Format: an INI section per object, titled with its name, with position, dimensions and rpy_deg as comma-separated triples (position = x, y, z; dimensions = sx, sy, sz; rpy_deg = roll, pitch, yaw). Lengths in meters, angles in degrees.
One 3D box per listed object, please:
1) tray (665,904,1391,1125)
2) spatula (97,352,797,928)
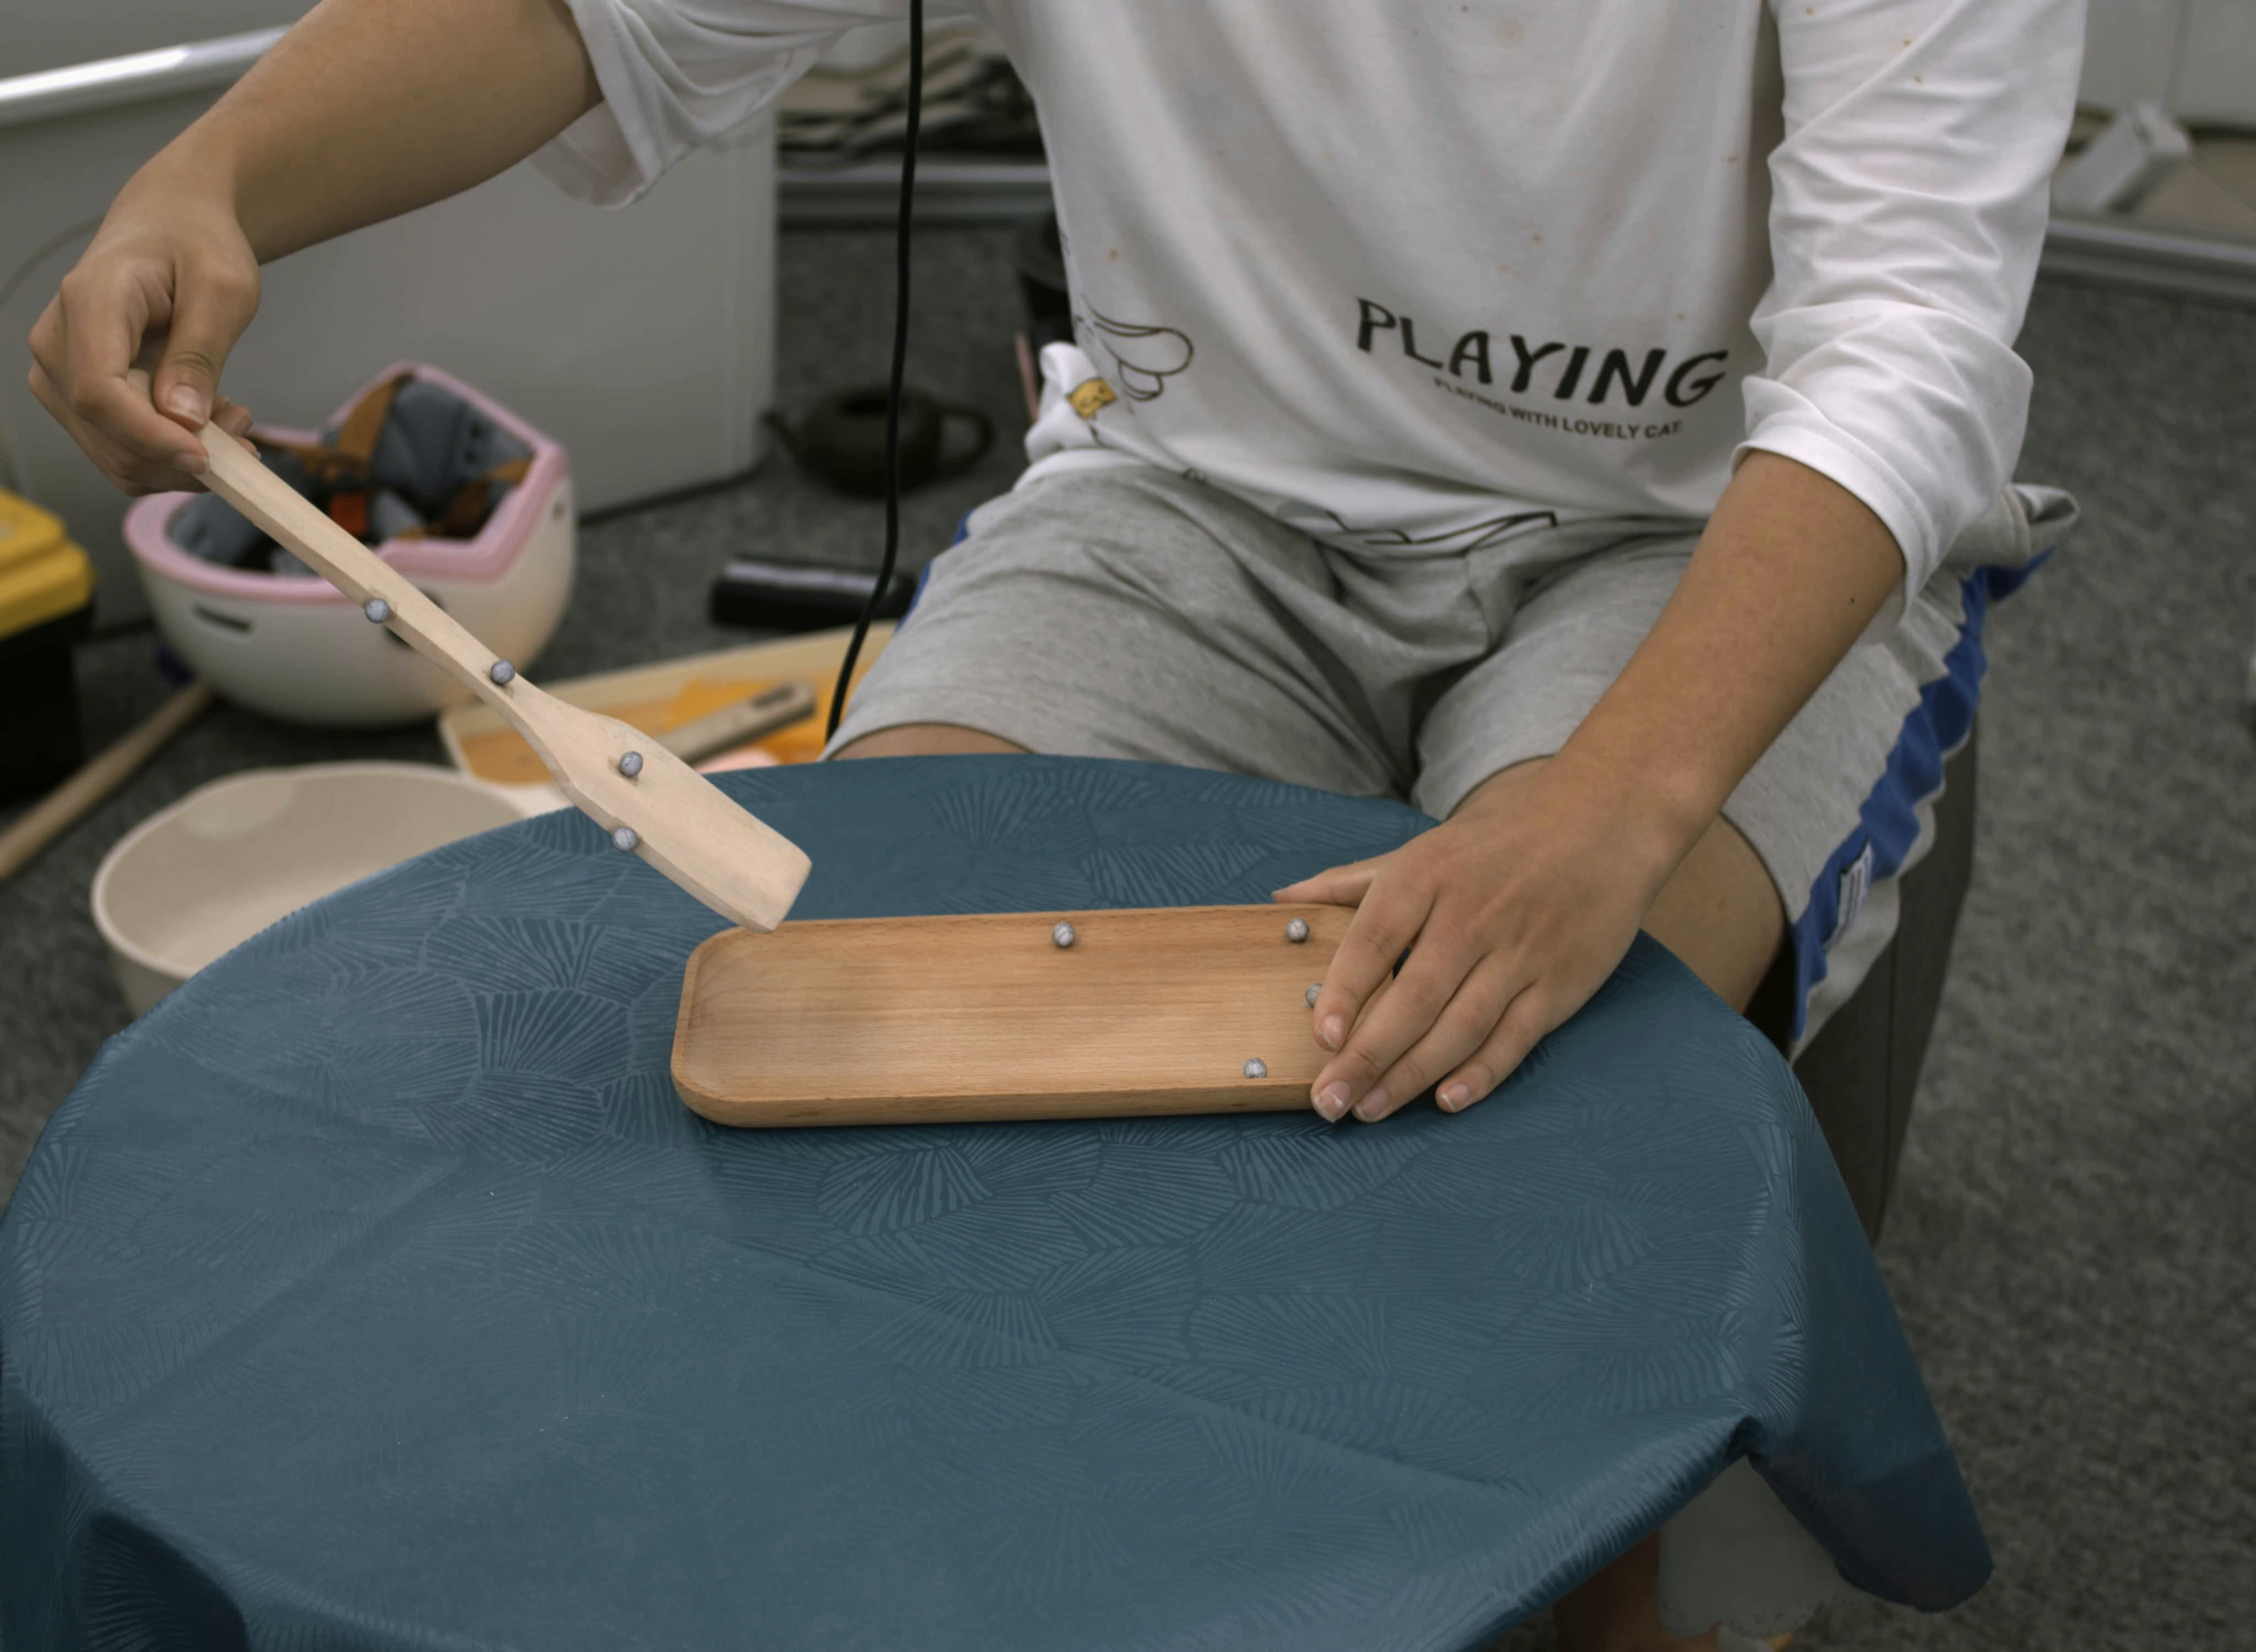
[tray]
position = -0.033, 0.066, 1.958
dimensions = 0.249, 0.022, 0.132
rpy_deg = -2, 25, 3
[spatula]
position = -0.234, -0.065, 1.918
dimensions = 0.292, 0.010, 0.073
rpy_deg = 39, 22, -6
